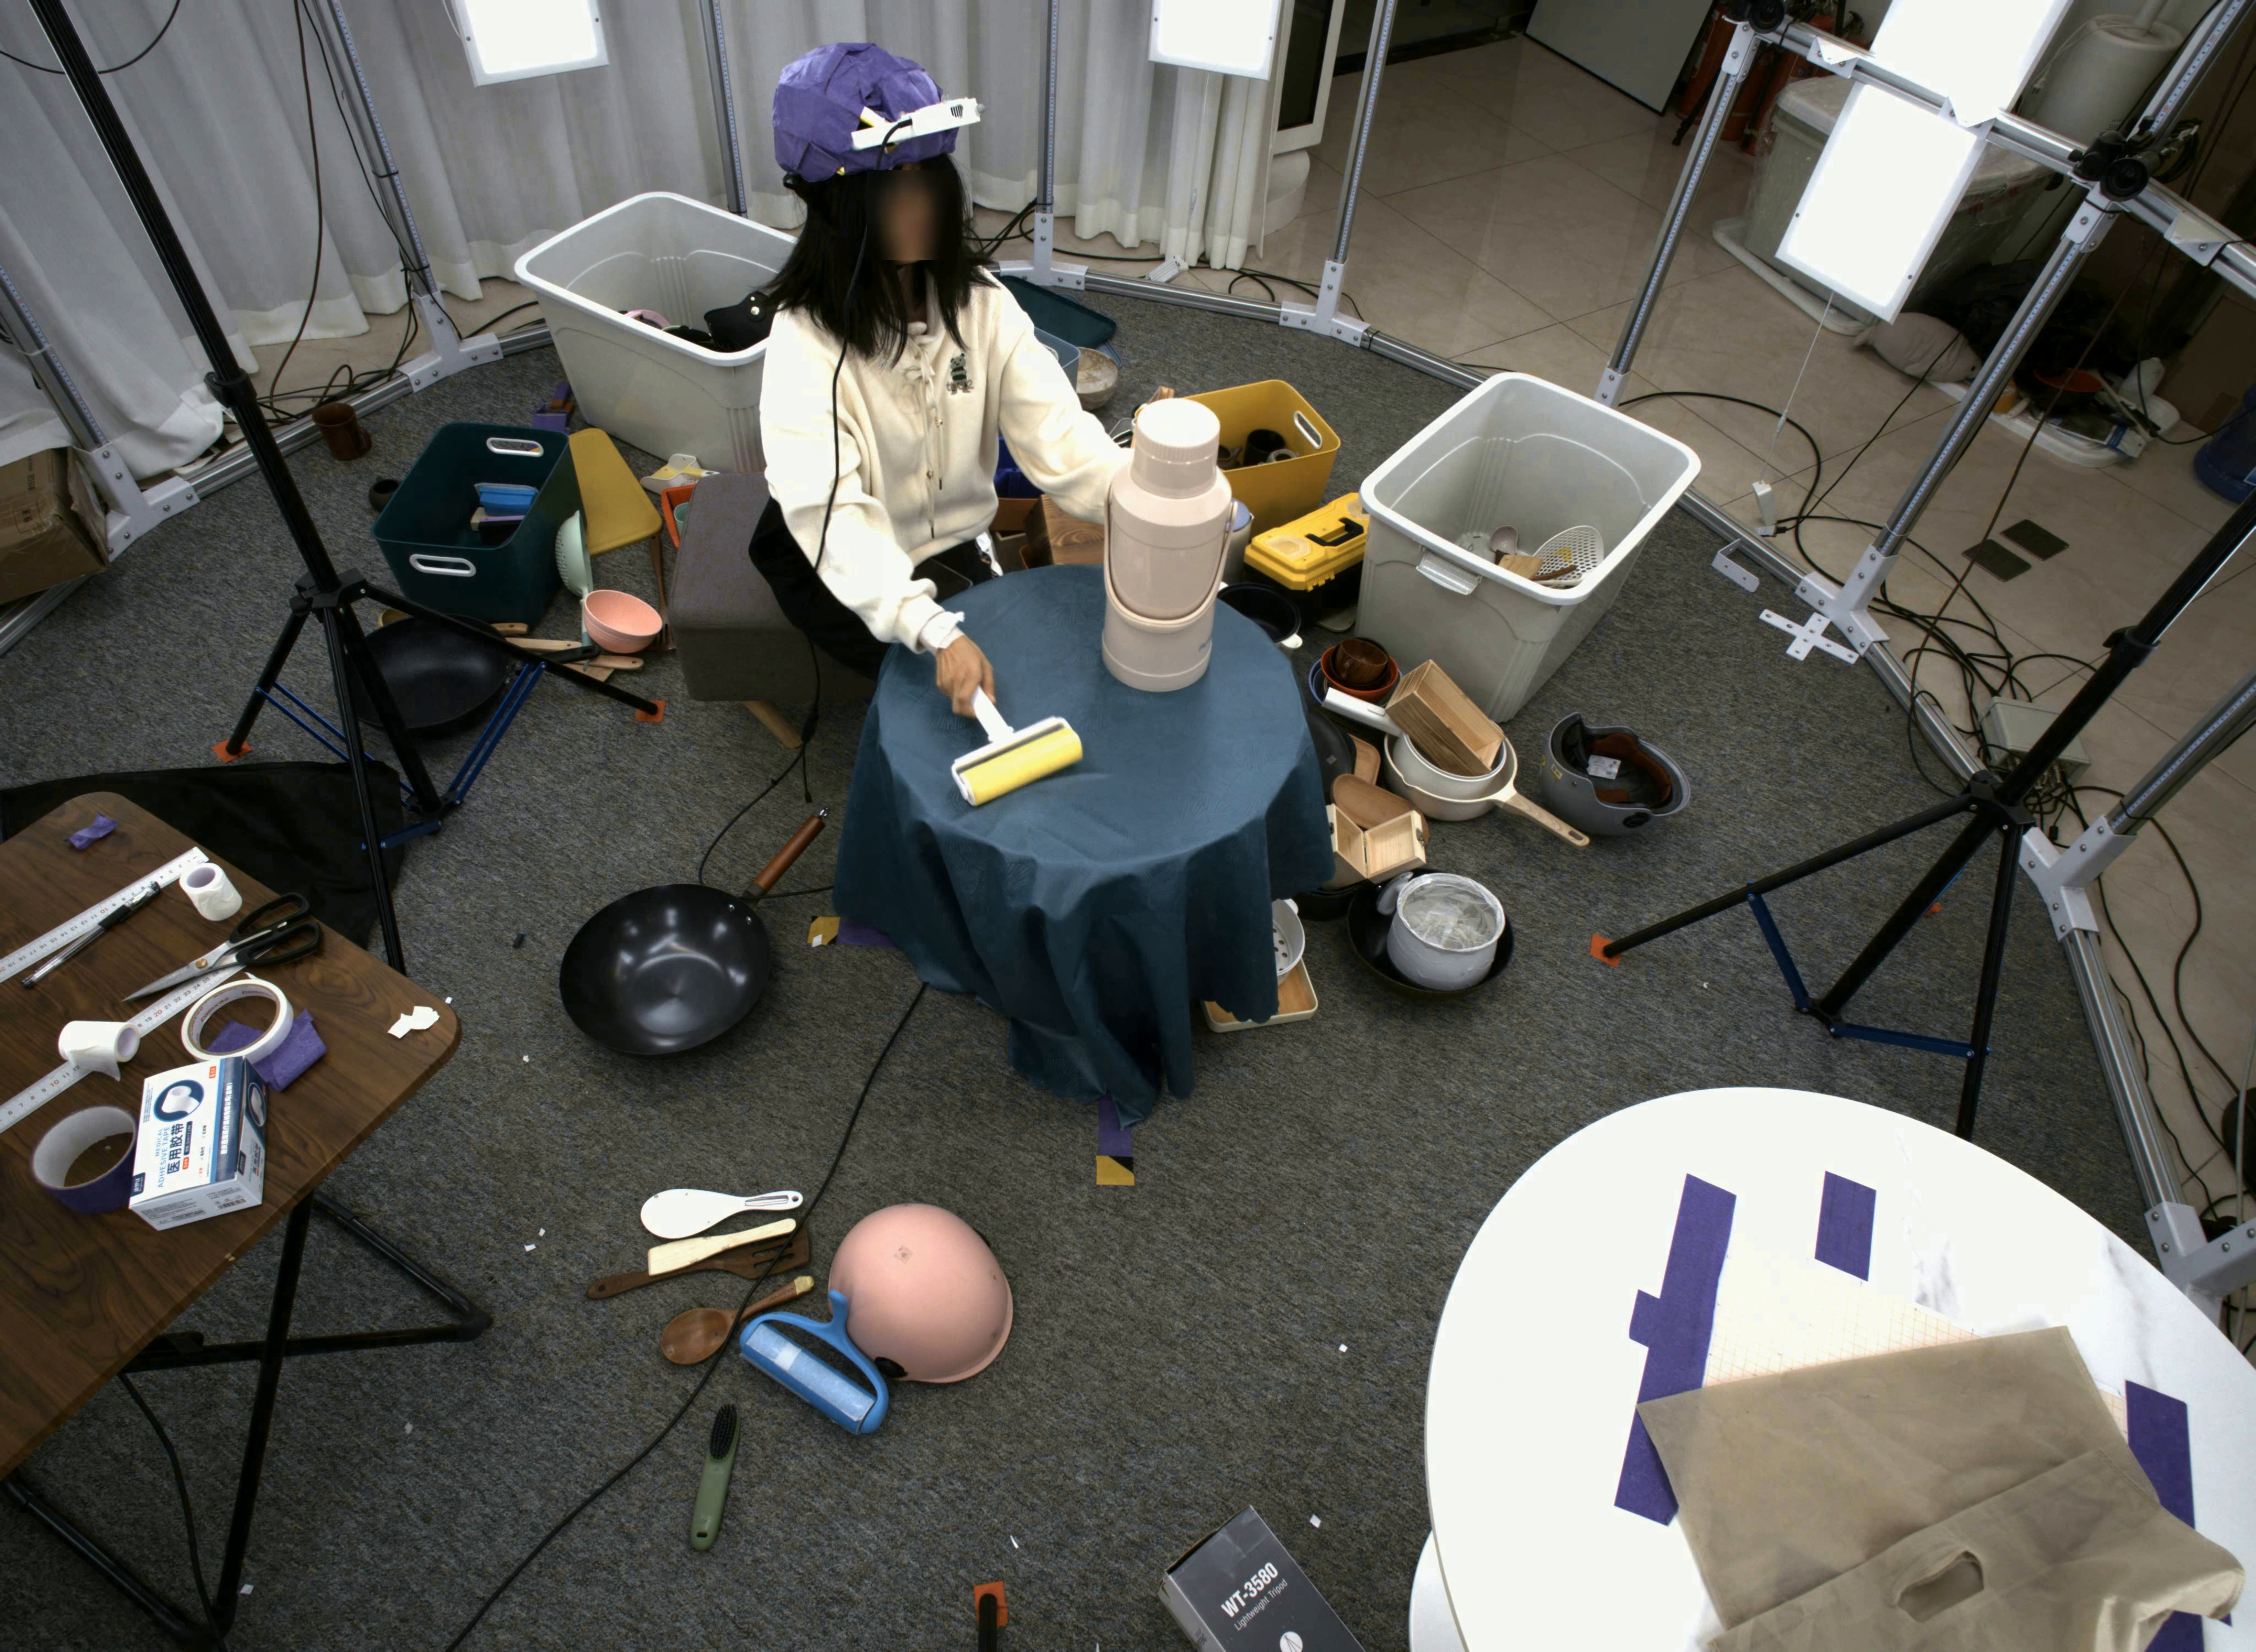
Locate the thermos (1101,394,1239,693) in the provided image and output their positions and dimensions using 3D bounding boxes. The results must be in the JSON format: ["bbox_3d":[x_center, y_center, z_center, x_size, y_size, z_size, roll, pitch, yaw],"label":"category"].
[{"bbox_3d":[0.056,-0.387,1.753,0.175,0.396,0.212,9,49,4],"label":"thermos"}]

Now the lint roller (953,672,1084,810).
[{"bbox_3d":[-0.175,-0.134,1.713,0.175,0.050,0.194,-25,74,-20],"label":"lint roller"}]
